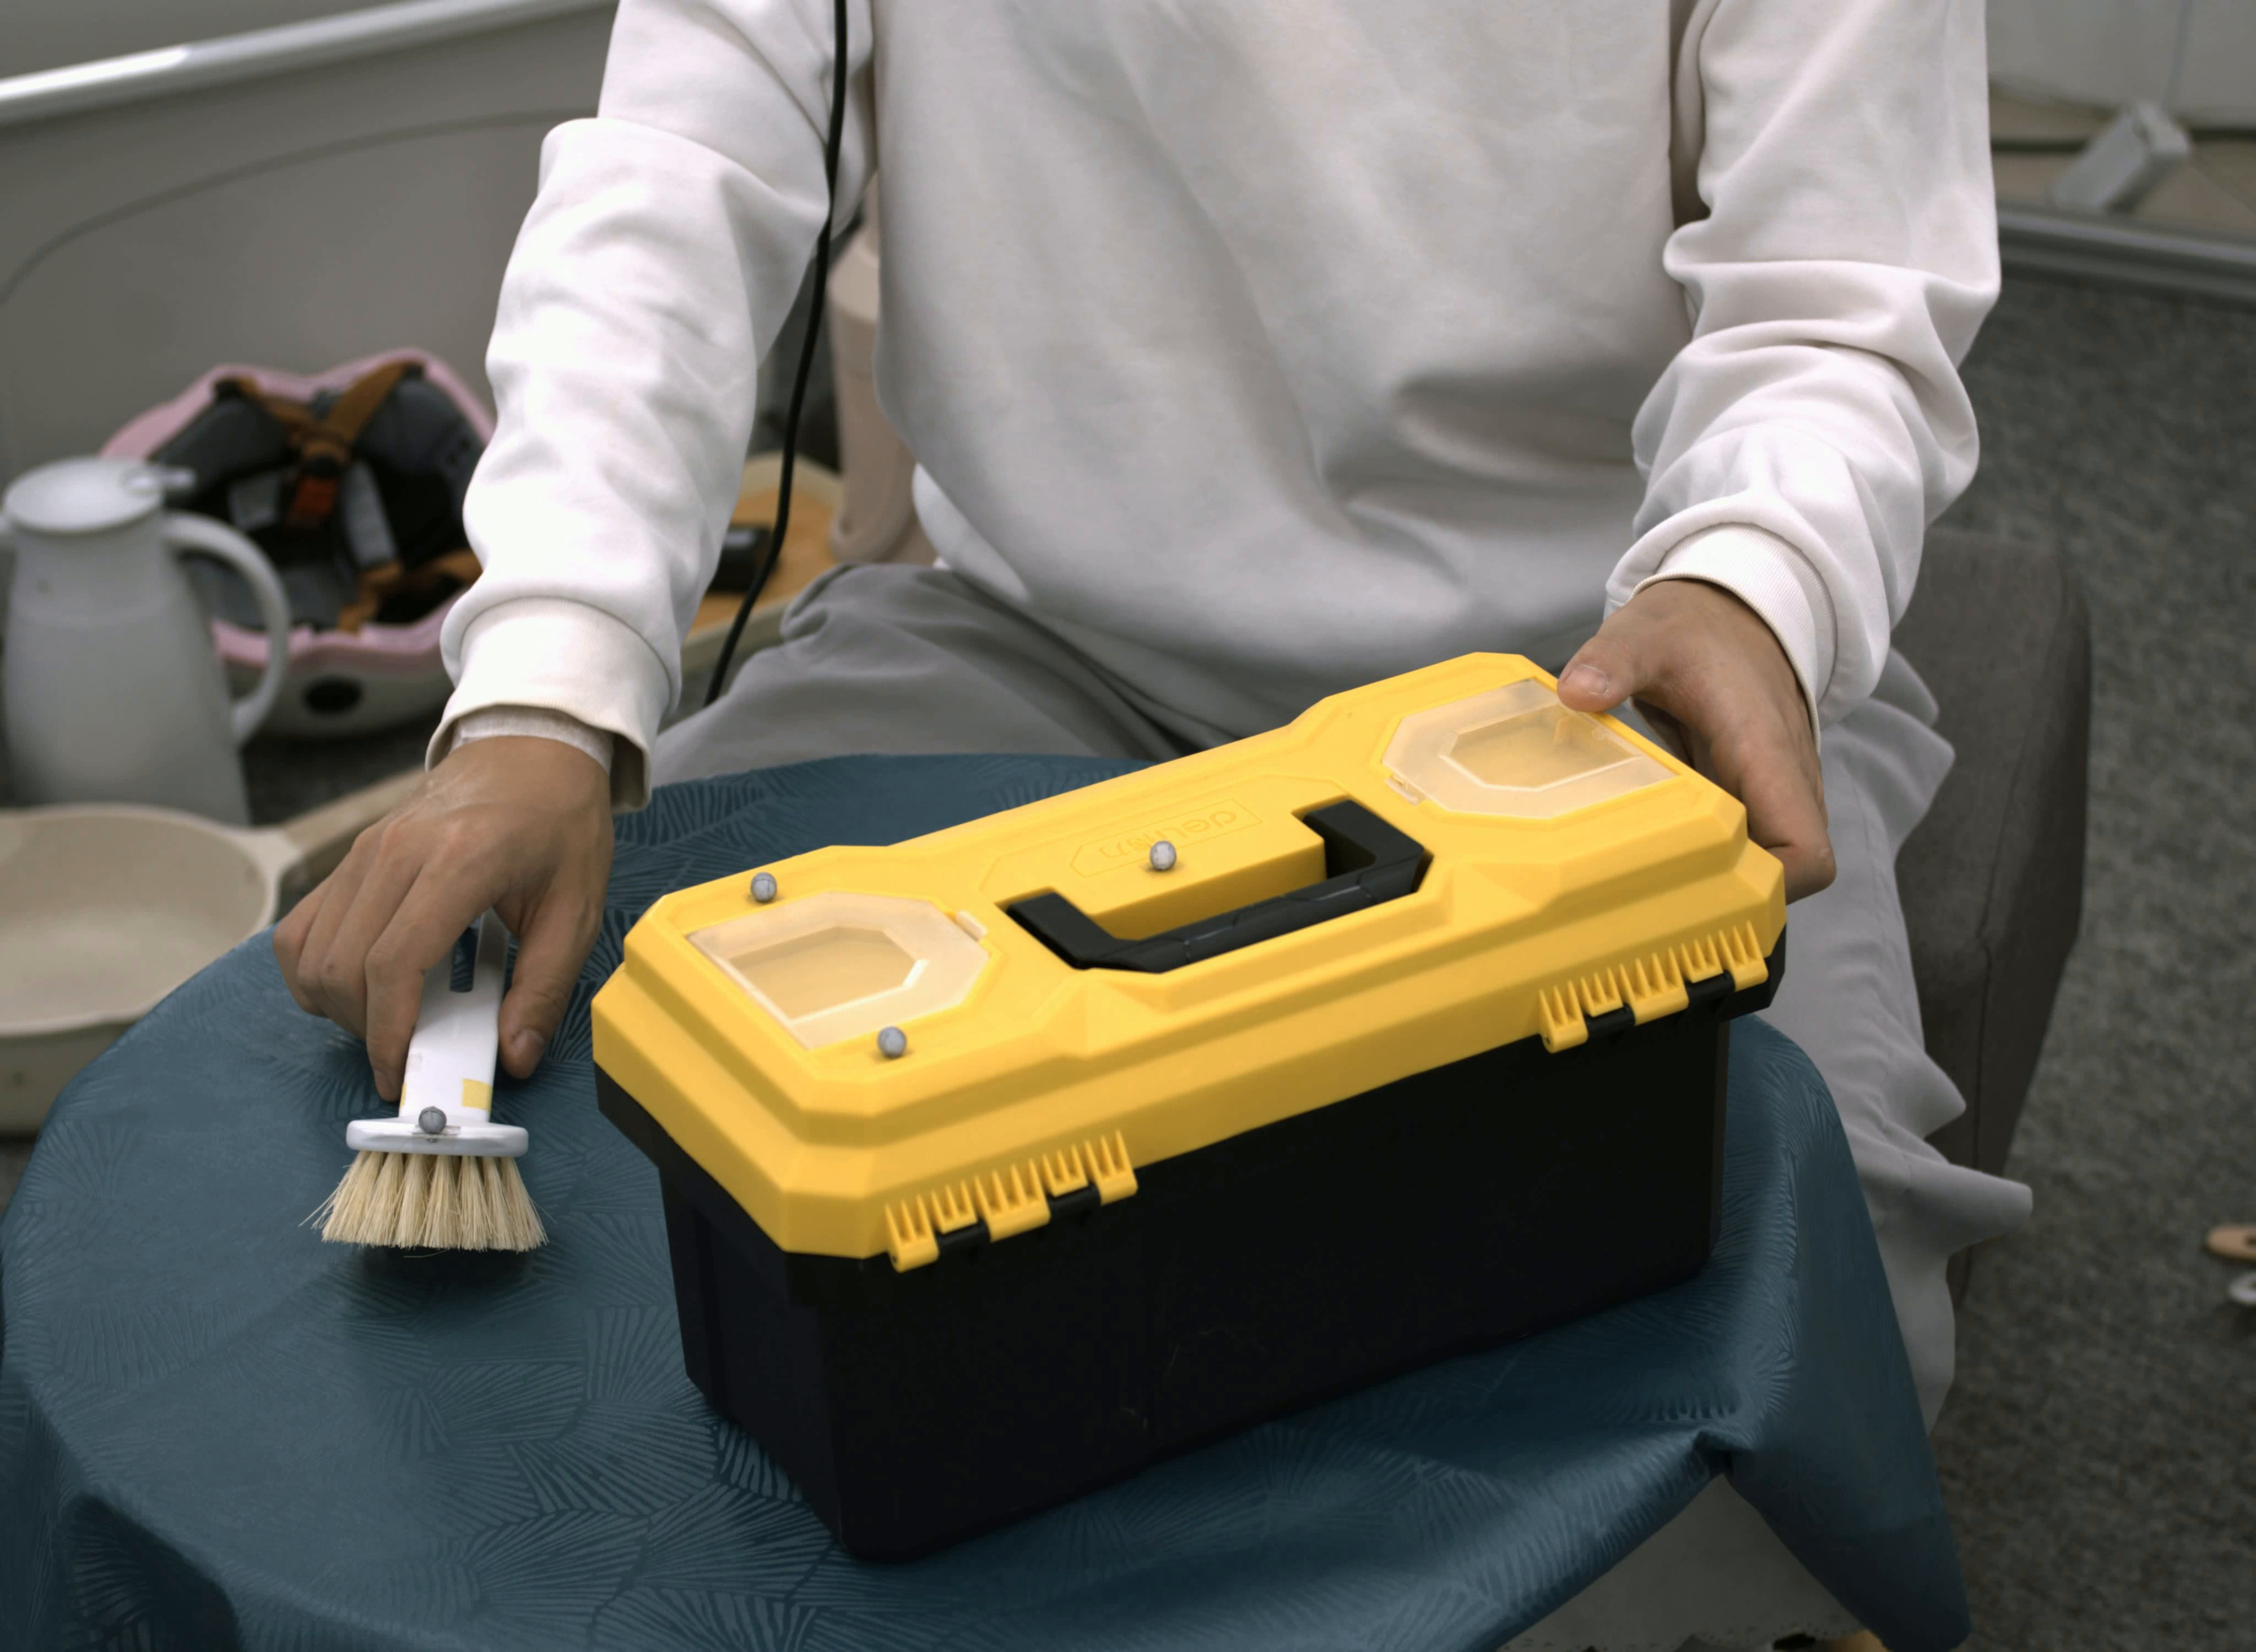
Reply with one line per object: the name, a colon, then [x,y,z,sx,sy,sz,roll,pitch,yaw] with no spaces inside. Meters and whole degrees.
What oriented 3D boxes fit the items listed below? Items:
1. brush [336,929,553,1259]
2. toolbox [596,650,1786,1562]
brush: [-0.226,0.092,1.929,0.068,0.056,0.268,18,10,-7]
toolbox: [0.022,0.082,1.752,0.353,0.171,0.182,-16,31,-26]
